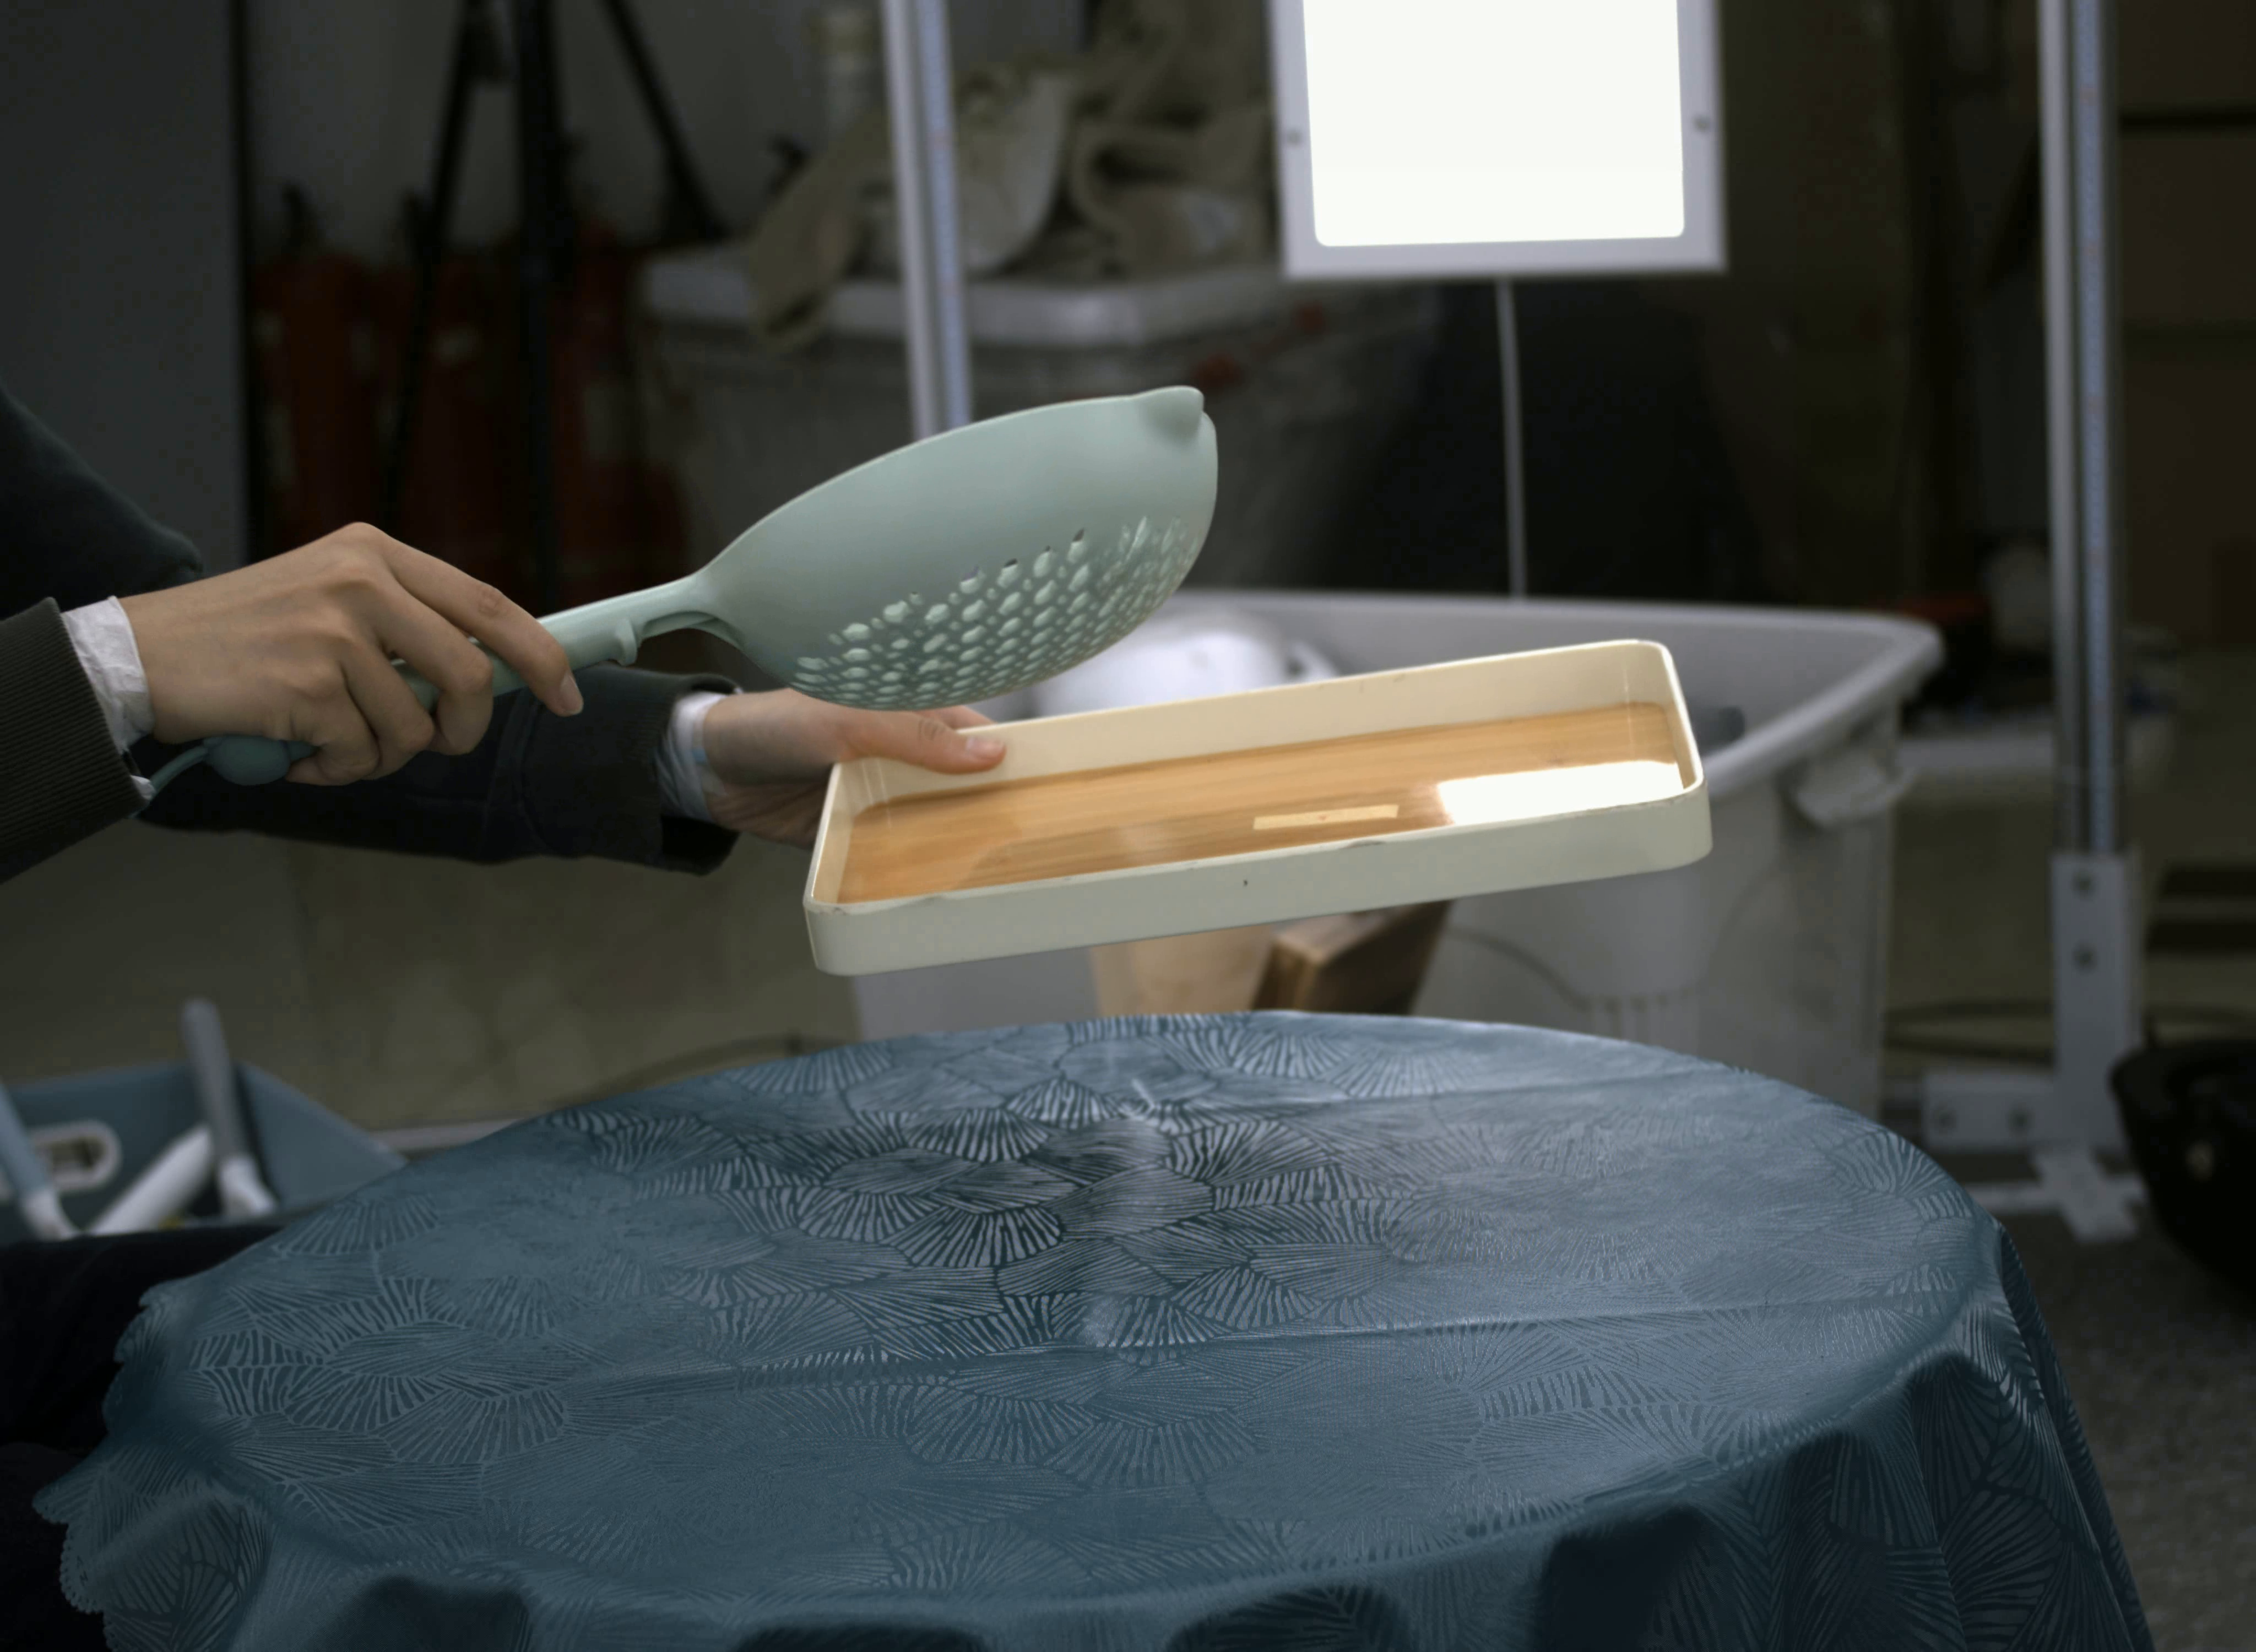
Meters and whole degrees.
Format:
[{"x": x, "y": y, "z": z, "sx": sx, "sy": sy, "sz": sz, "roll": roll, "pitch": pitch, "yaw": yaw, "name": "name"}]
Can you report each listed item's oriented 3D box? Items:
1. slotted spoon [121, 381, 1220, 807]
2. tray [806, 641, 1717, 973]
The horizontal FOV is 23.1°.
[{"x": -0.140, "y": -0.065, "z": 1.725, "sx": 0.355, "sy": 0.075, "sz": 0.170, "roll": -7, "pitch": -16, "yaw": -9, "name": "slotted spoon"}, {"x": 0.045, "y": -0.008, "z": 1.869, "sx": 0.301, "sy": 0.027, "sz": 0.190, "roll": -7, "pitch": 17, "yaw": 5, "name": "tray"}]
